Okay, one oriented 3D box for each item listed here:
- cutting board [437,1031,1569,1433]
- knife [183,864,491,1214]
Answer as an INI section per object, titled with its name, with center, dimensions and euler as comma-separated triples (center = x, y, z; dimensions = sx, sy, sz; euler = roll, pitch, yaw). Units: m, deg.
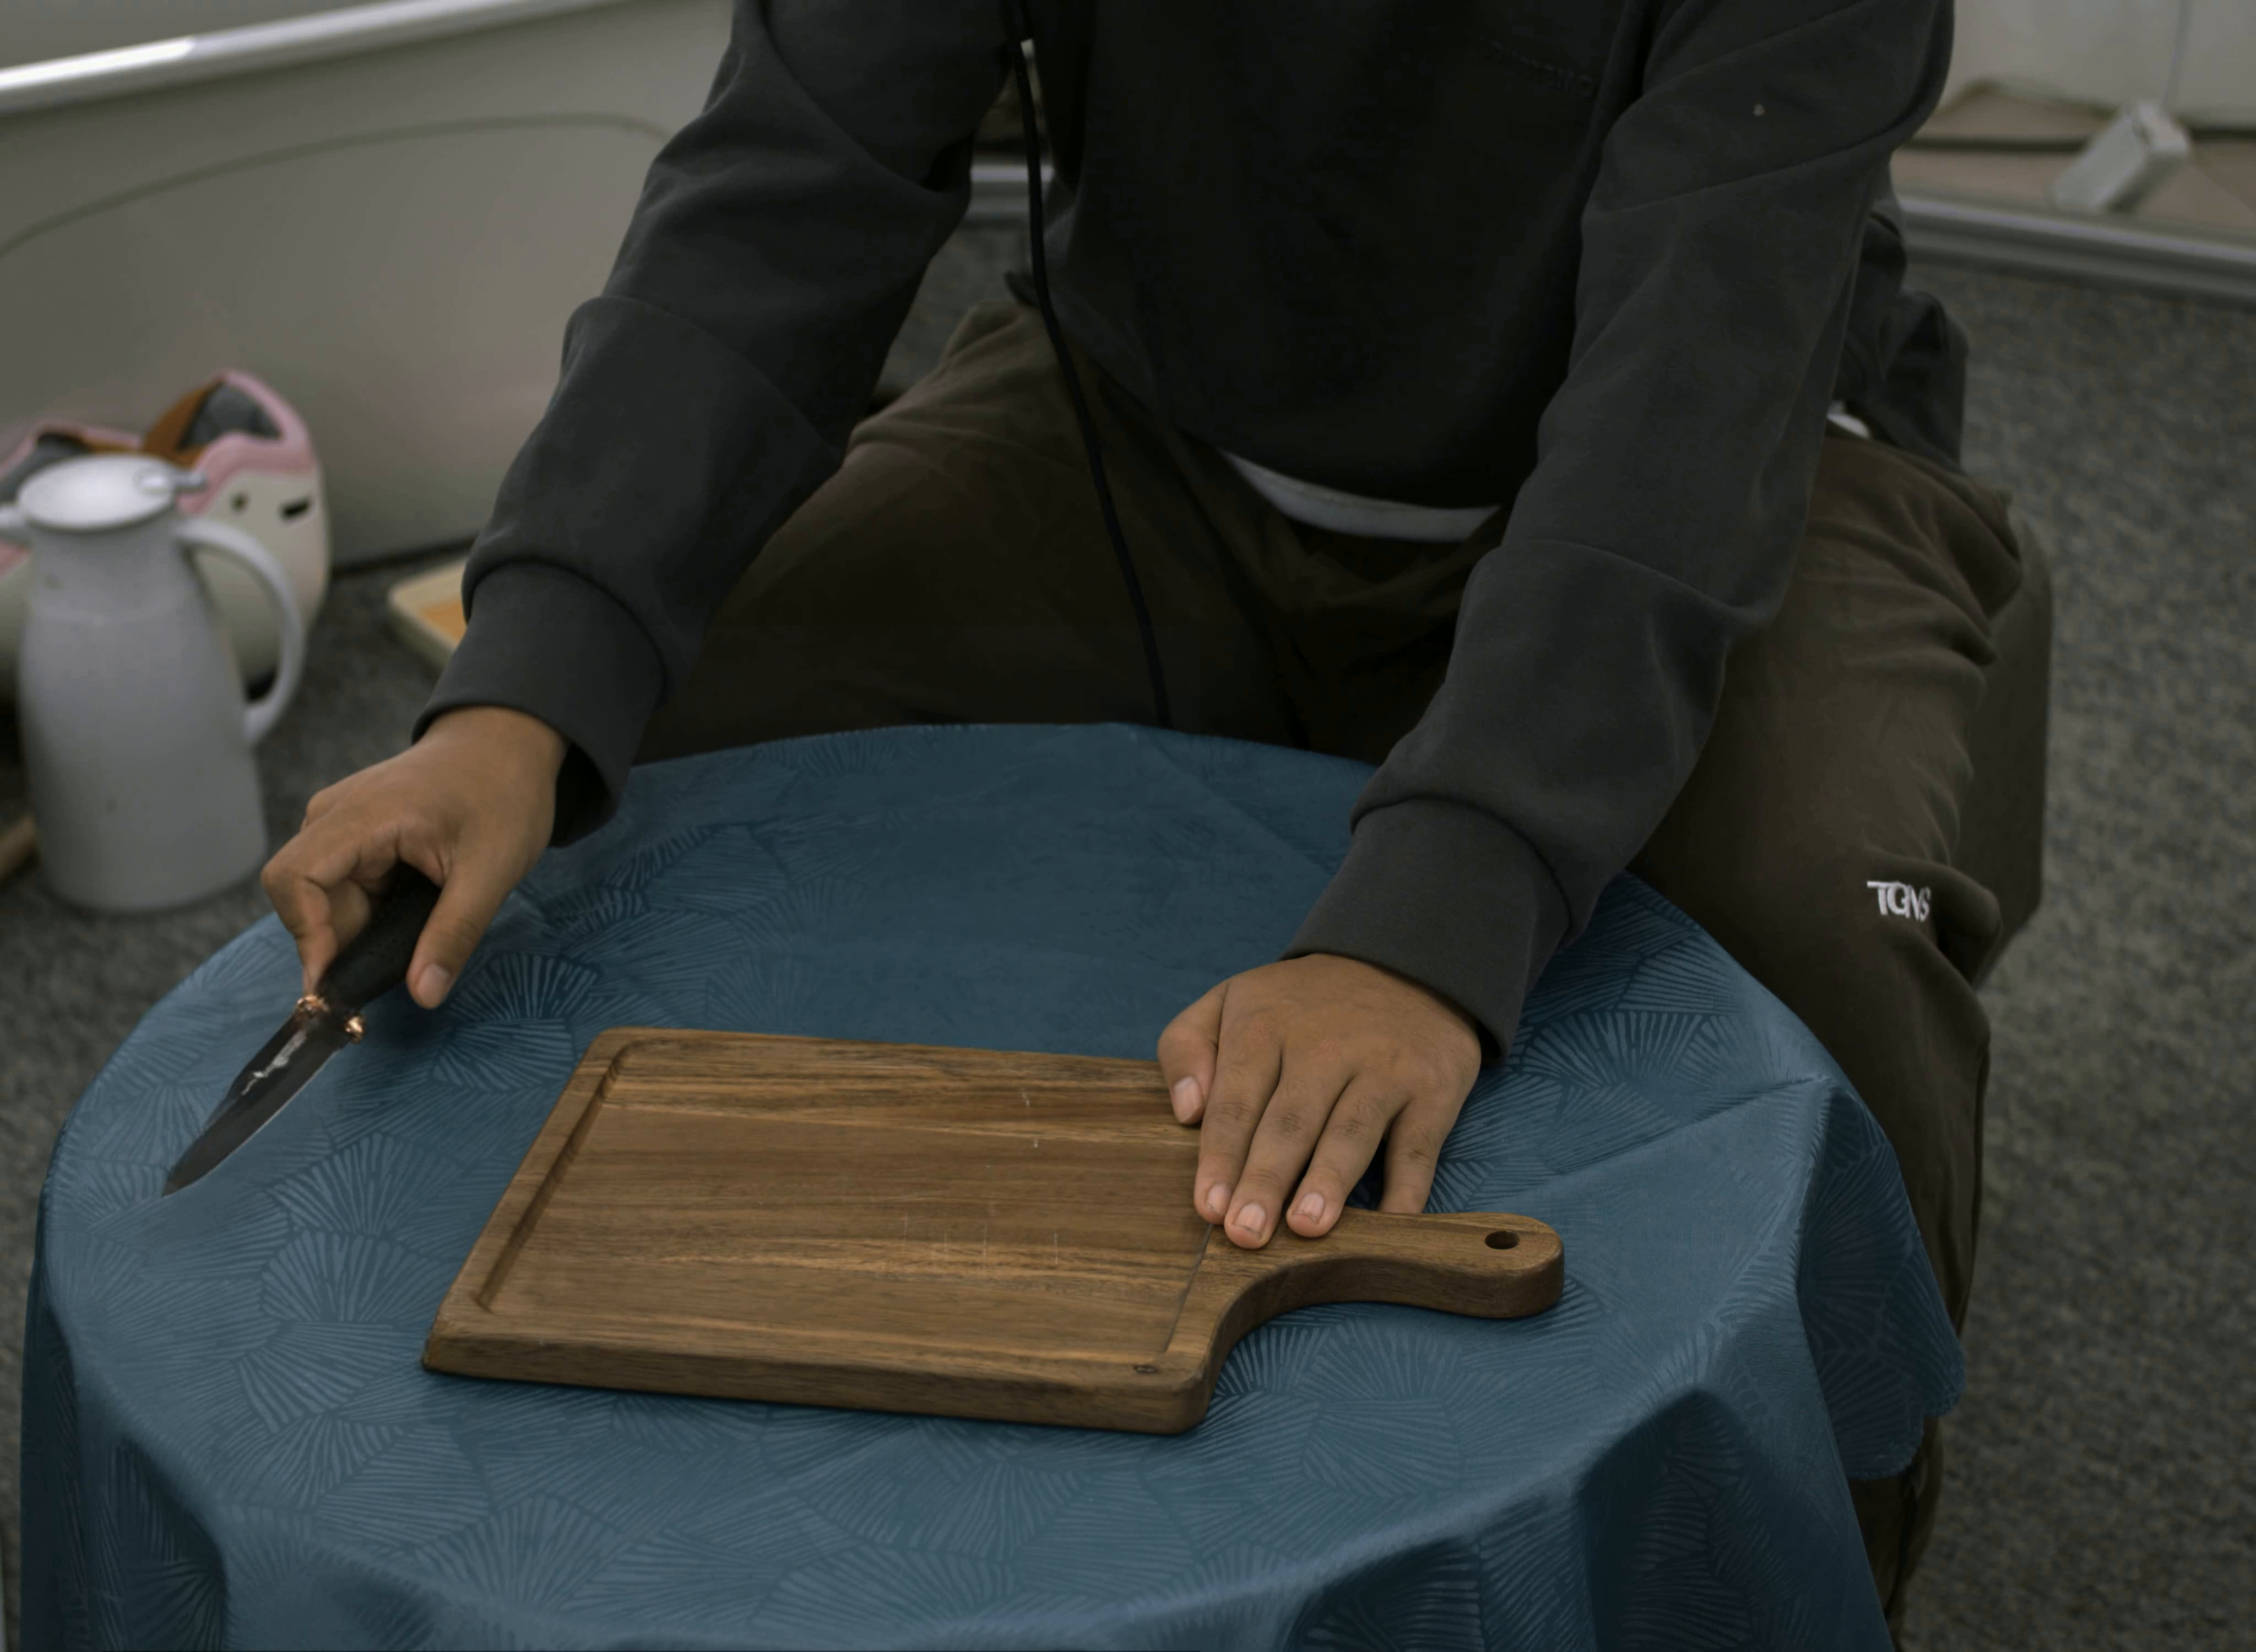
[cutting board]
center = -0.032, 0.132, 1.826
dimensions = 0.350, 0.023, 0.204
euler = 3, 28, 11
[knife]
center = -0.273, 0.071, 1.926
dimensions = 0.026, 0.017, 0.229
euler = 25, 34, 8
